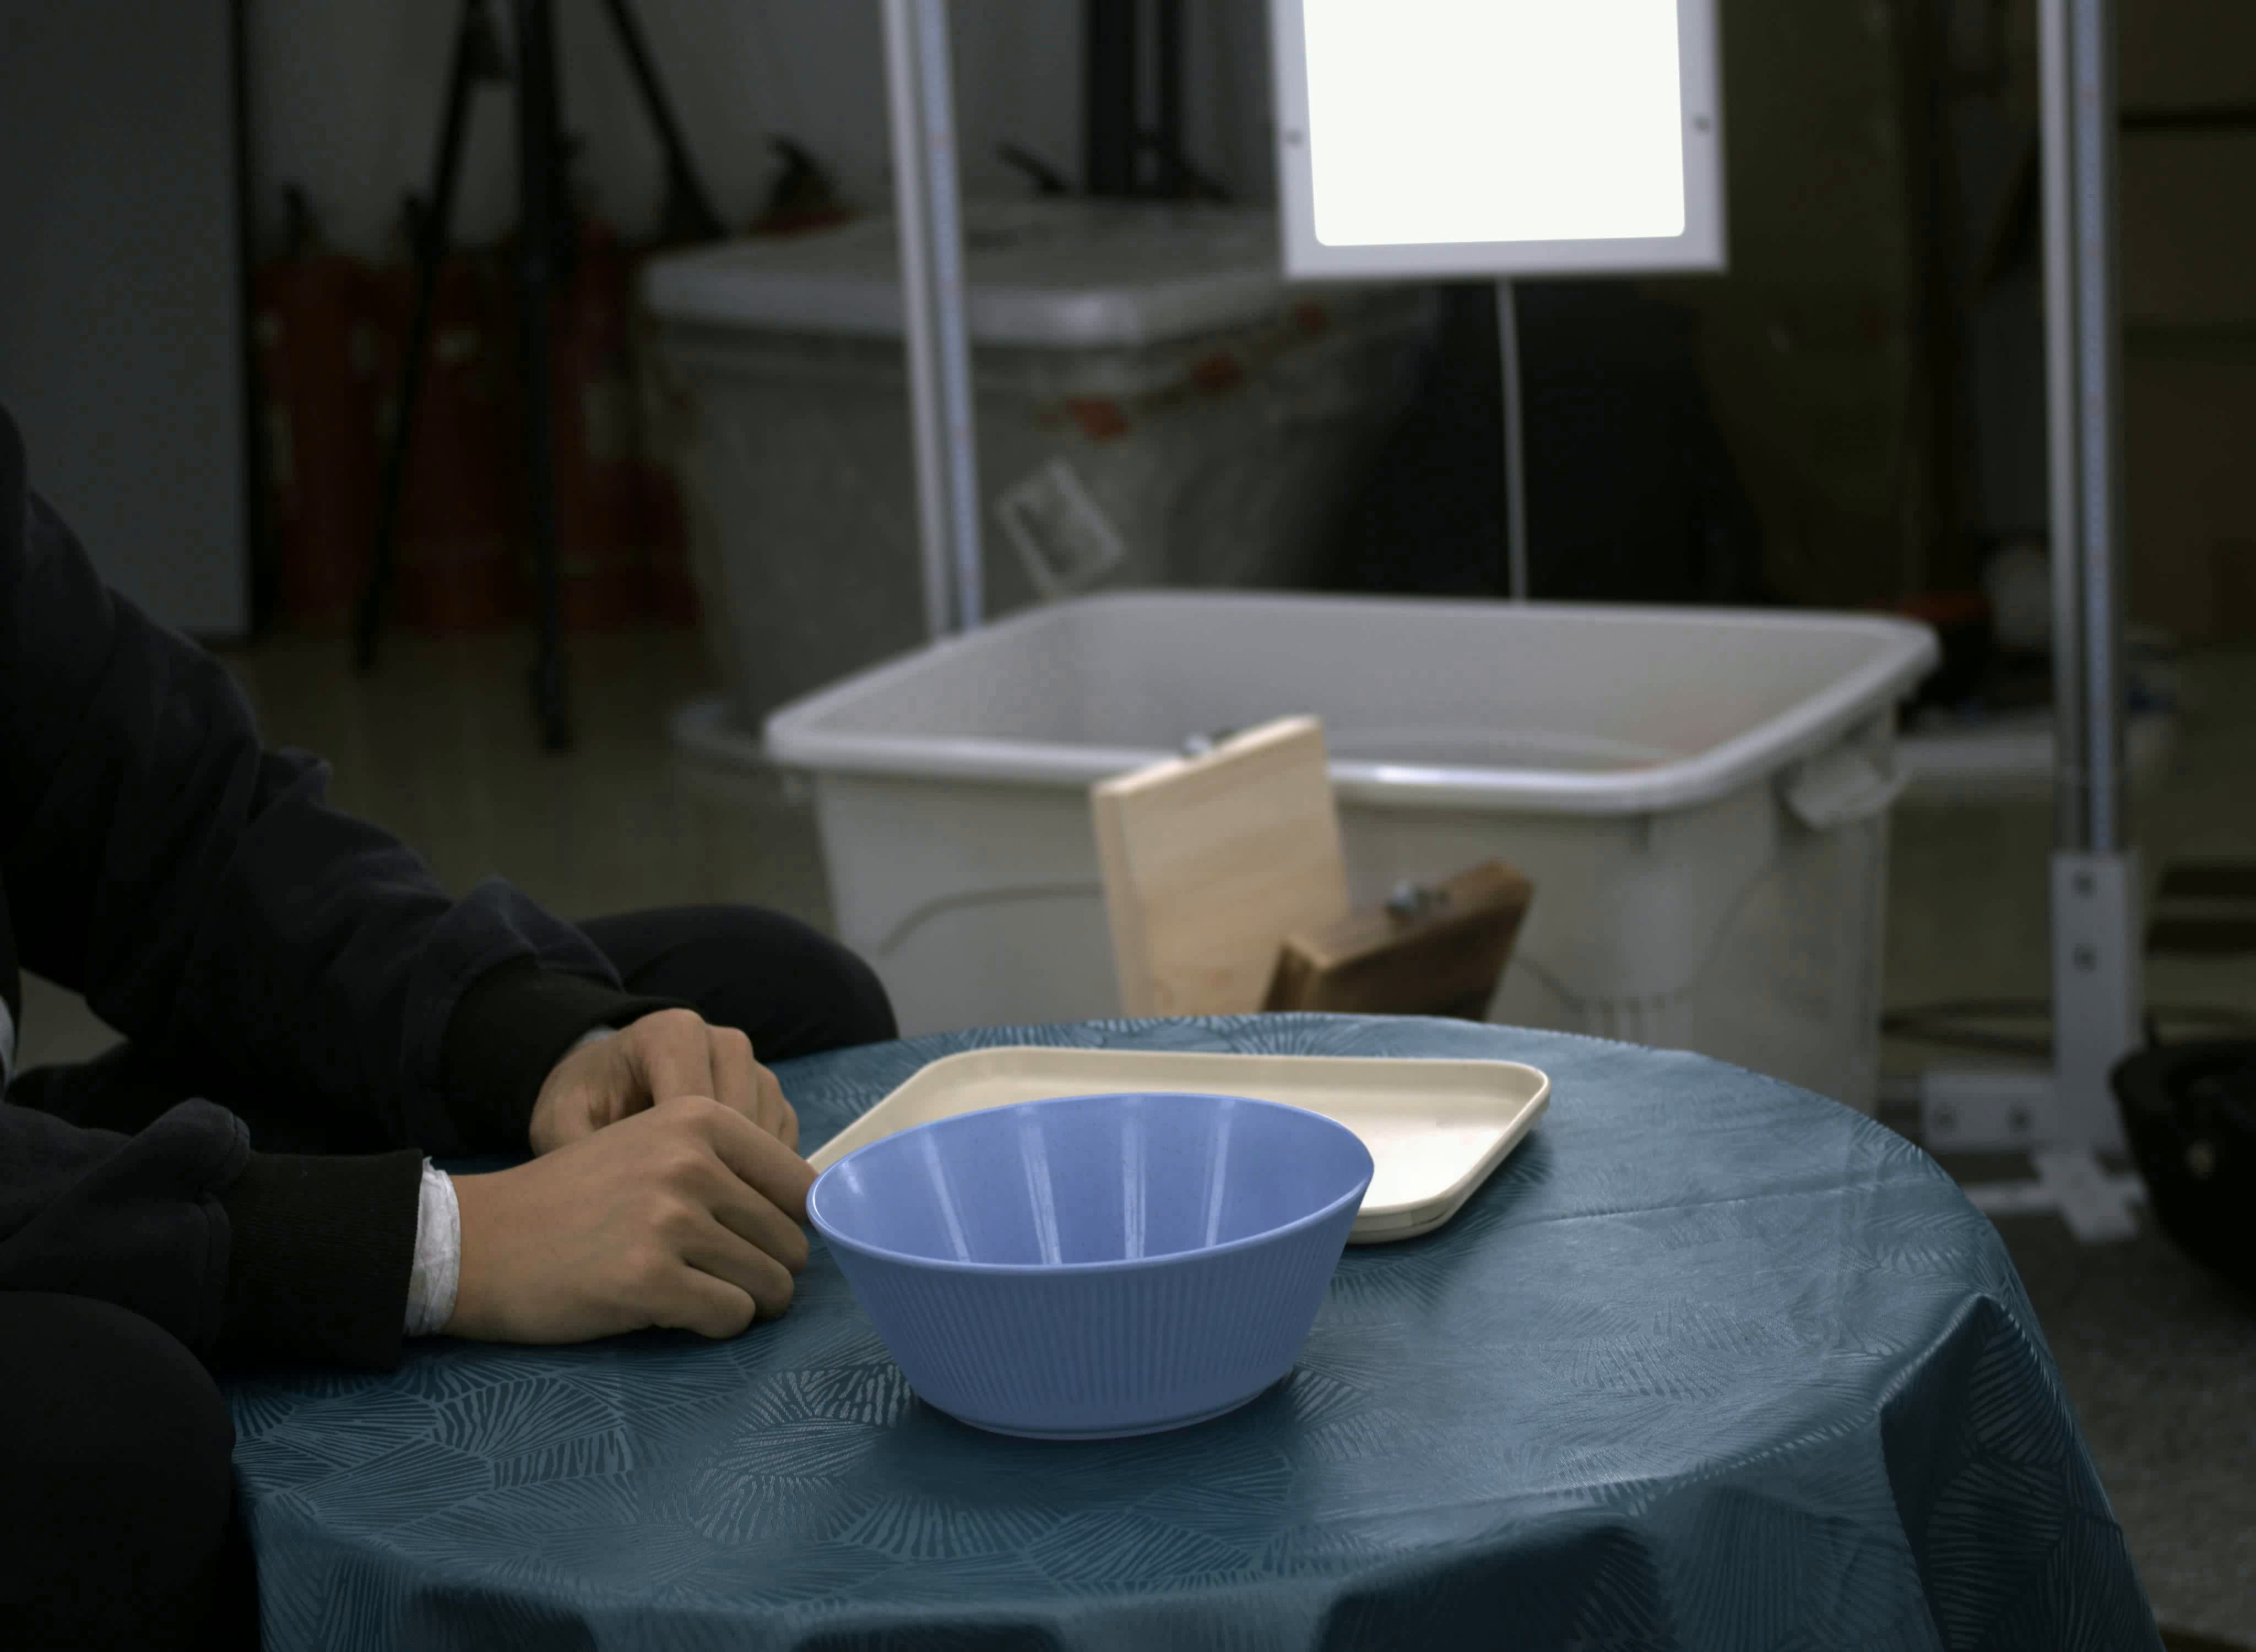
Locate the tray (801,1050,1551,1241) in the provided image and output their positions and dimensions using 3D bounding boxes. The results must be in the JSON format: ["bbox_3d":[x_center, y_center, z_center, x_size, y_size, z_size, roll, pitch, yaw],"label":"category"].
[{"bbox_3d":[0.019,0.111,1.917,0.243,0.017,0.168,1,14,22],"label":"tray"}]

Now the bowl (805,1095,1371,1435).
[{"bbox_3d":[-0.011,0.138,1.704,0.175,0.070,0.176,-4,14,0],"label":"bowl"}]
